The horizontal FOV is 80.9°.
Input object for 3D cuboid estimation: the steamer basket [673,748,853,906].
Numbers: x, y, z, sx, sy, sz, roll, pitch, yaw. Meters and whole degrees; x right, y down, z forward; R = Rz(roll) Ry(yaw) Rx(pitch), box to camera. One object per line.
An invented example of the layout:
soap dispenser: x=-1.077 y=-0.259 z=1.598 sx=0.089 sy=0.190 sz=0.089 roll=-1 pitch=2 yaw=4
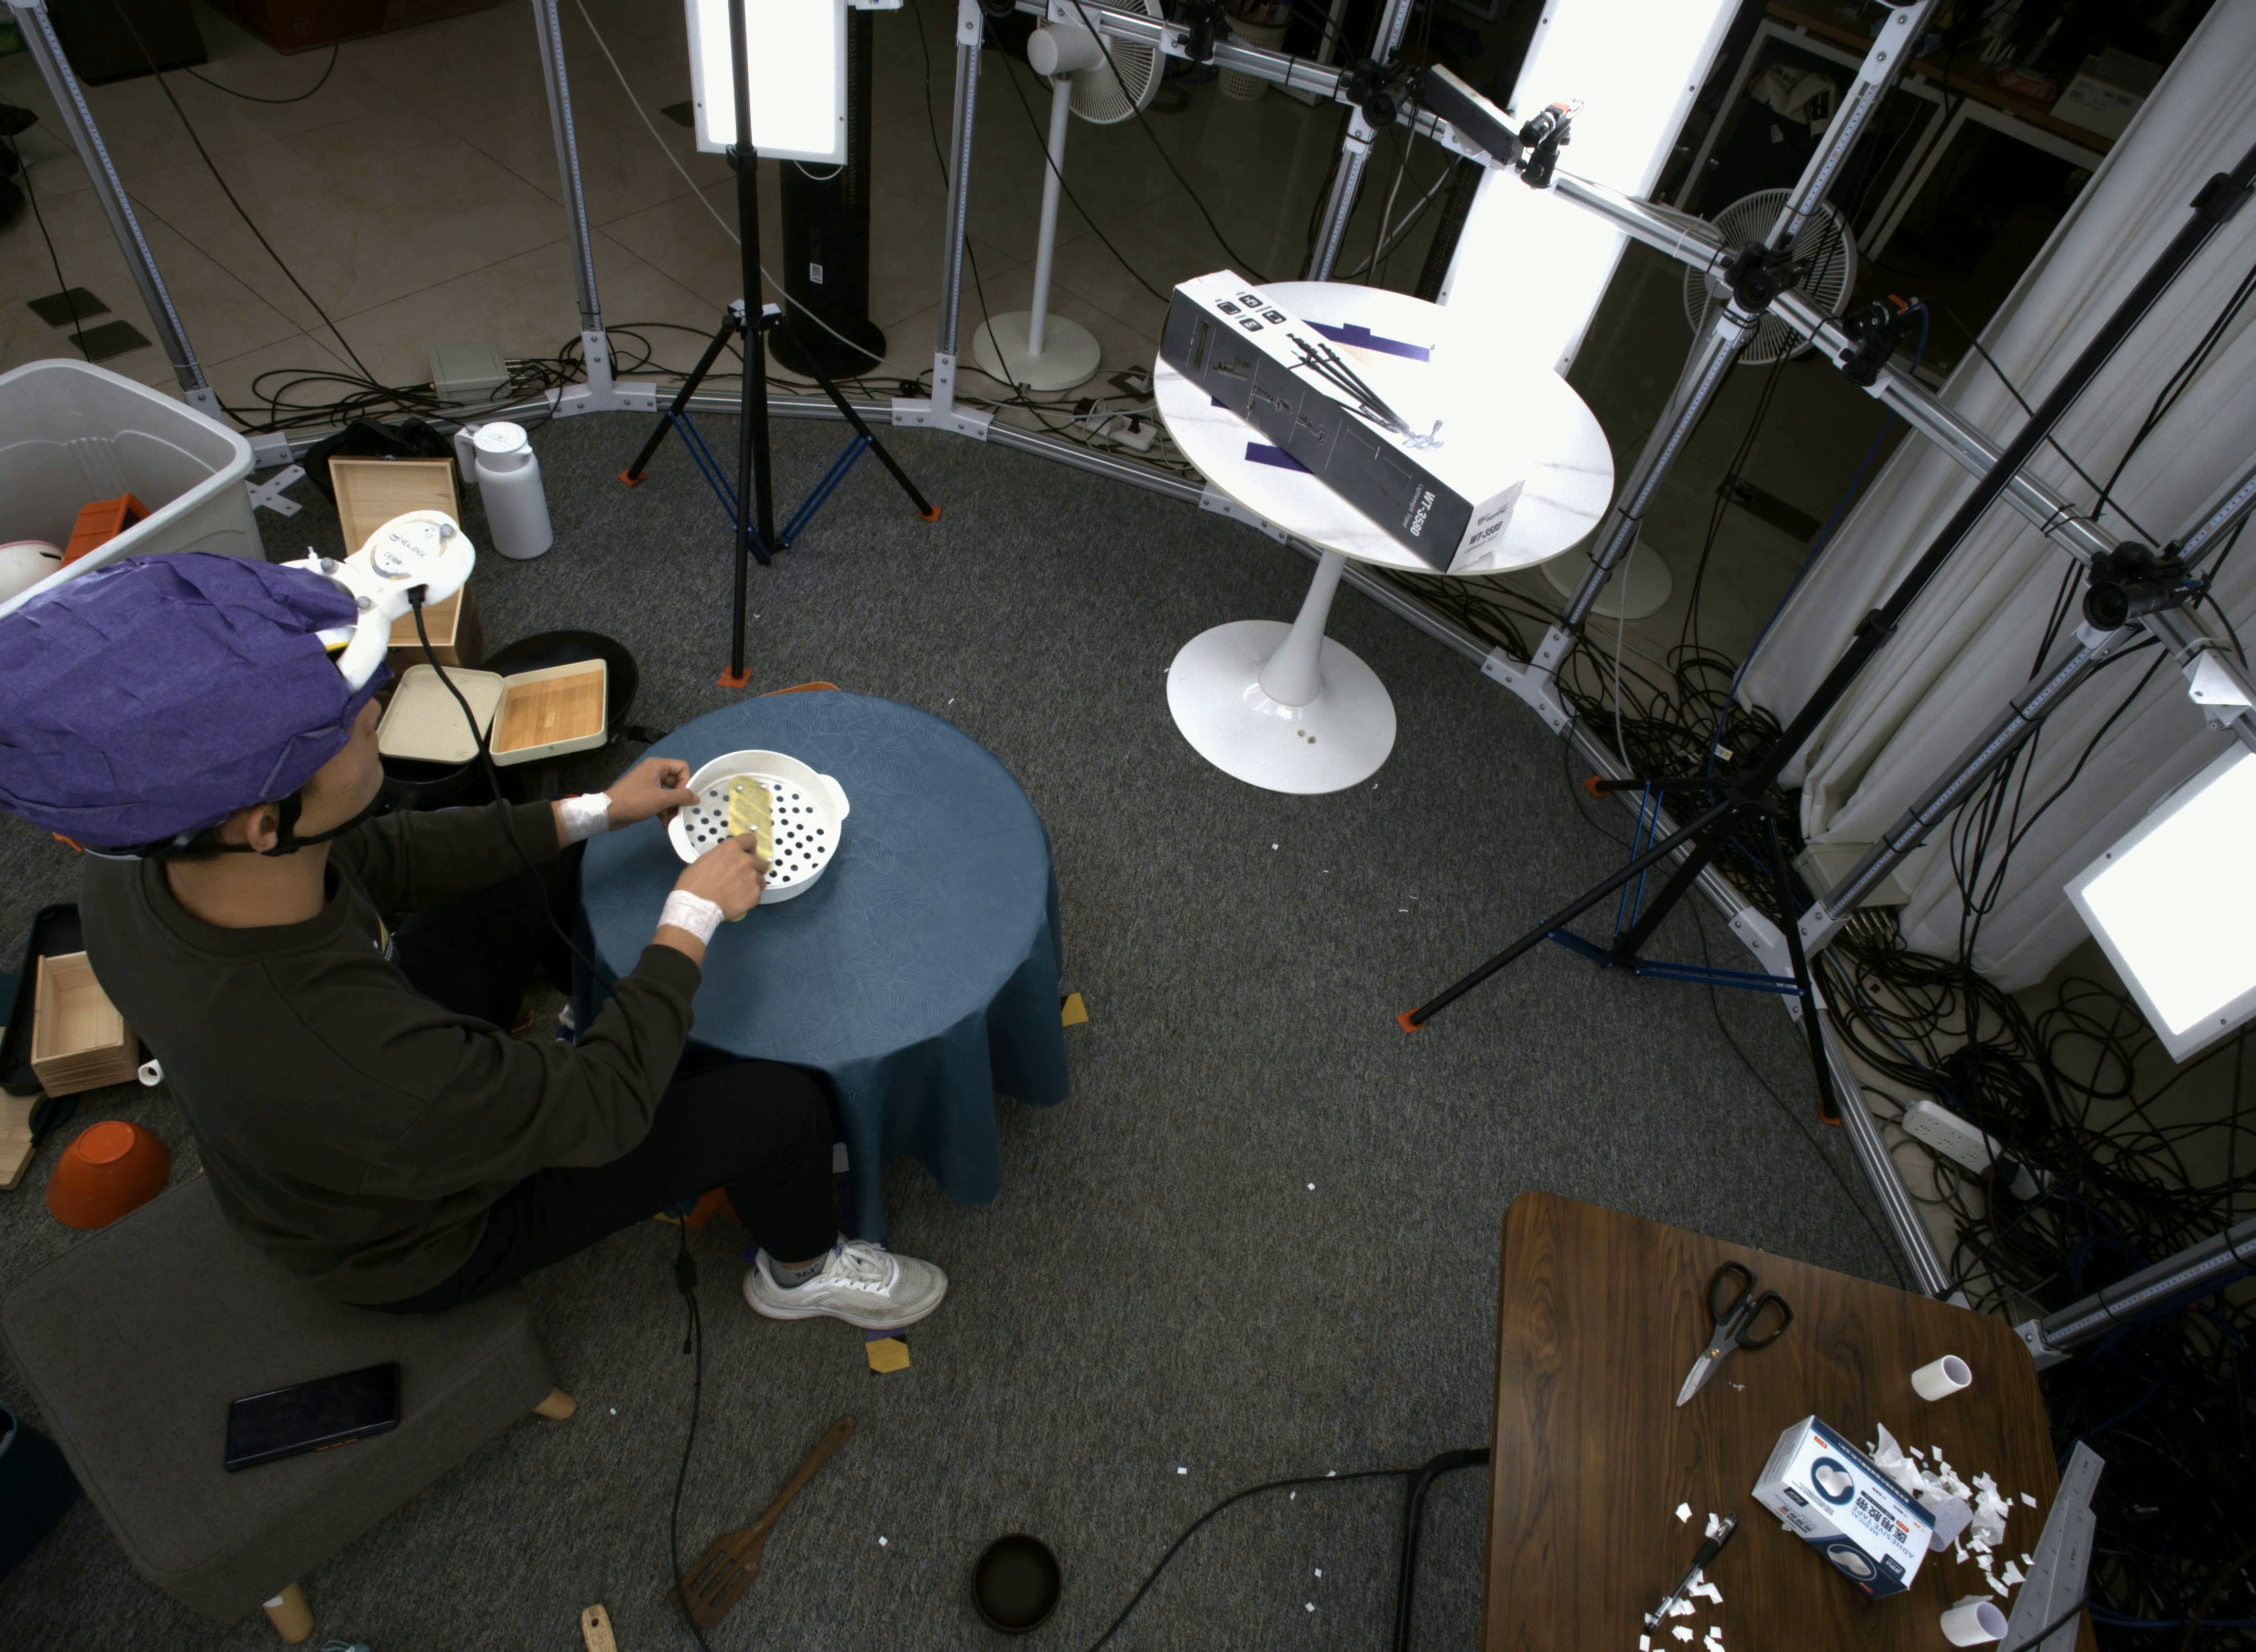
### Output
steamer basket: x=-0.468 y=0.001 z=1.662 sx=0.232 sy=0.069 sz=0.199 roll=-20 pitch=72 yaw=-30

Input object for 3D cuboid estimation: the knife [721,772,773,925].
knife: x=-0.470 y=0.022 z=1.595 sx=0.084 sy=0.027 sz=0.281 roll=43 pitch=21 yaw=-36
